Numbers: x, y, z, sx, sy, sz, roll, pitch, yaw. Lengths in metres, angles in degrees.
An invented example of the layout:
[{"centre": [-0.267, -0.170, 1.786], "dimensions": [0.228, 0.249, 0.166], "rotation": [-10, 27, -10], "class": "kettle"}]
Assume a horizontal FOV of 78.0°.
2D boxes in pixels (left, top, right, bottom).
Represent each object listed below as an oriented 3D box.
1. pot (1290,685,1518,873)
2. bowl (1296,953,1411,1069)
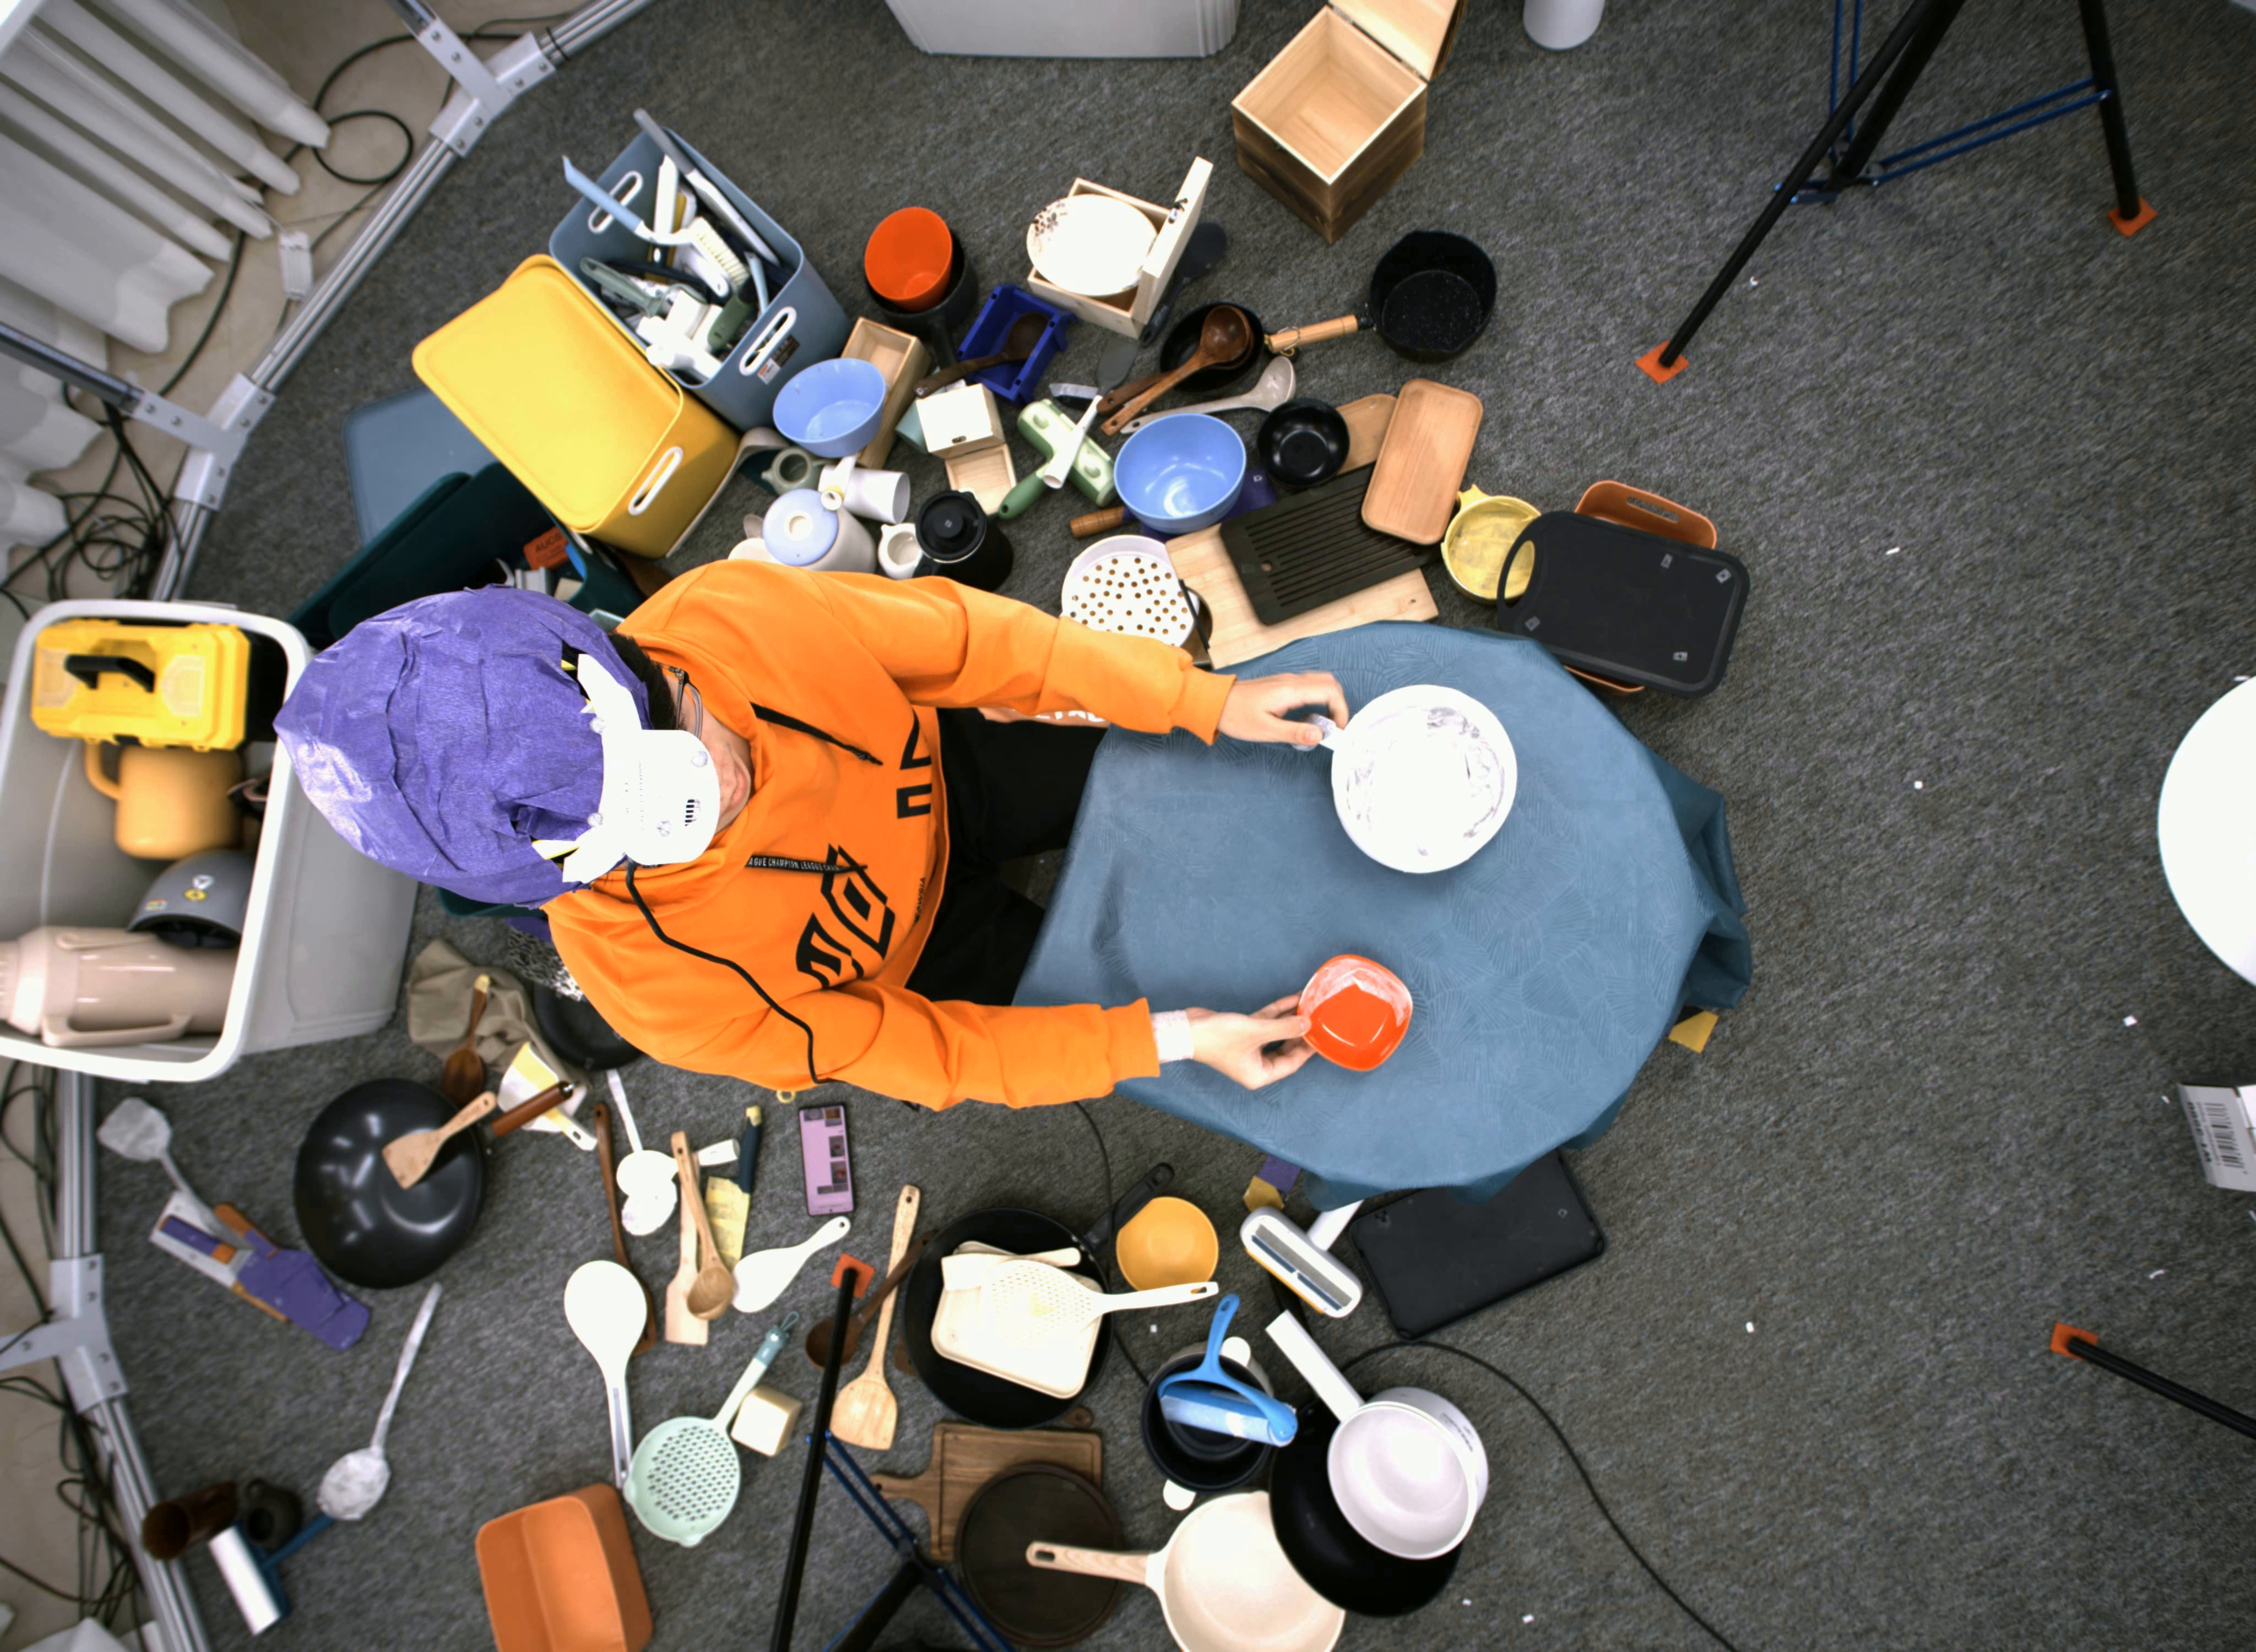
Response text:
[{"centre": [0.272, -0.056, 1.397], "dimensions": [0.233, 0.137, 0.178], "rotation": [25, 90, 11], "class": "pot"}, {"centre": [0.233, 0.190, 1.431], "dimensions": [0.119, 0.051, 0.118], "rotation": [-1, 83, 9], "class": "bowl"}]
